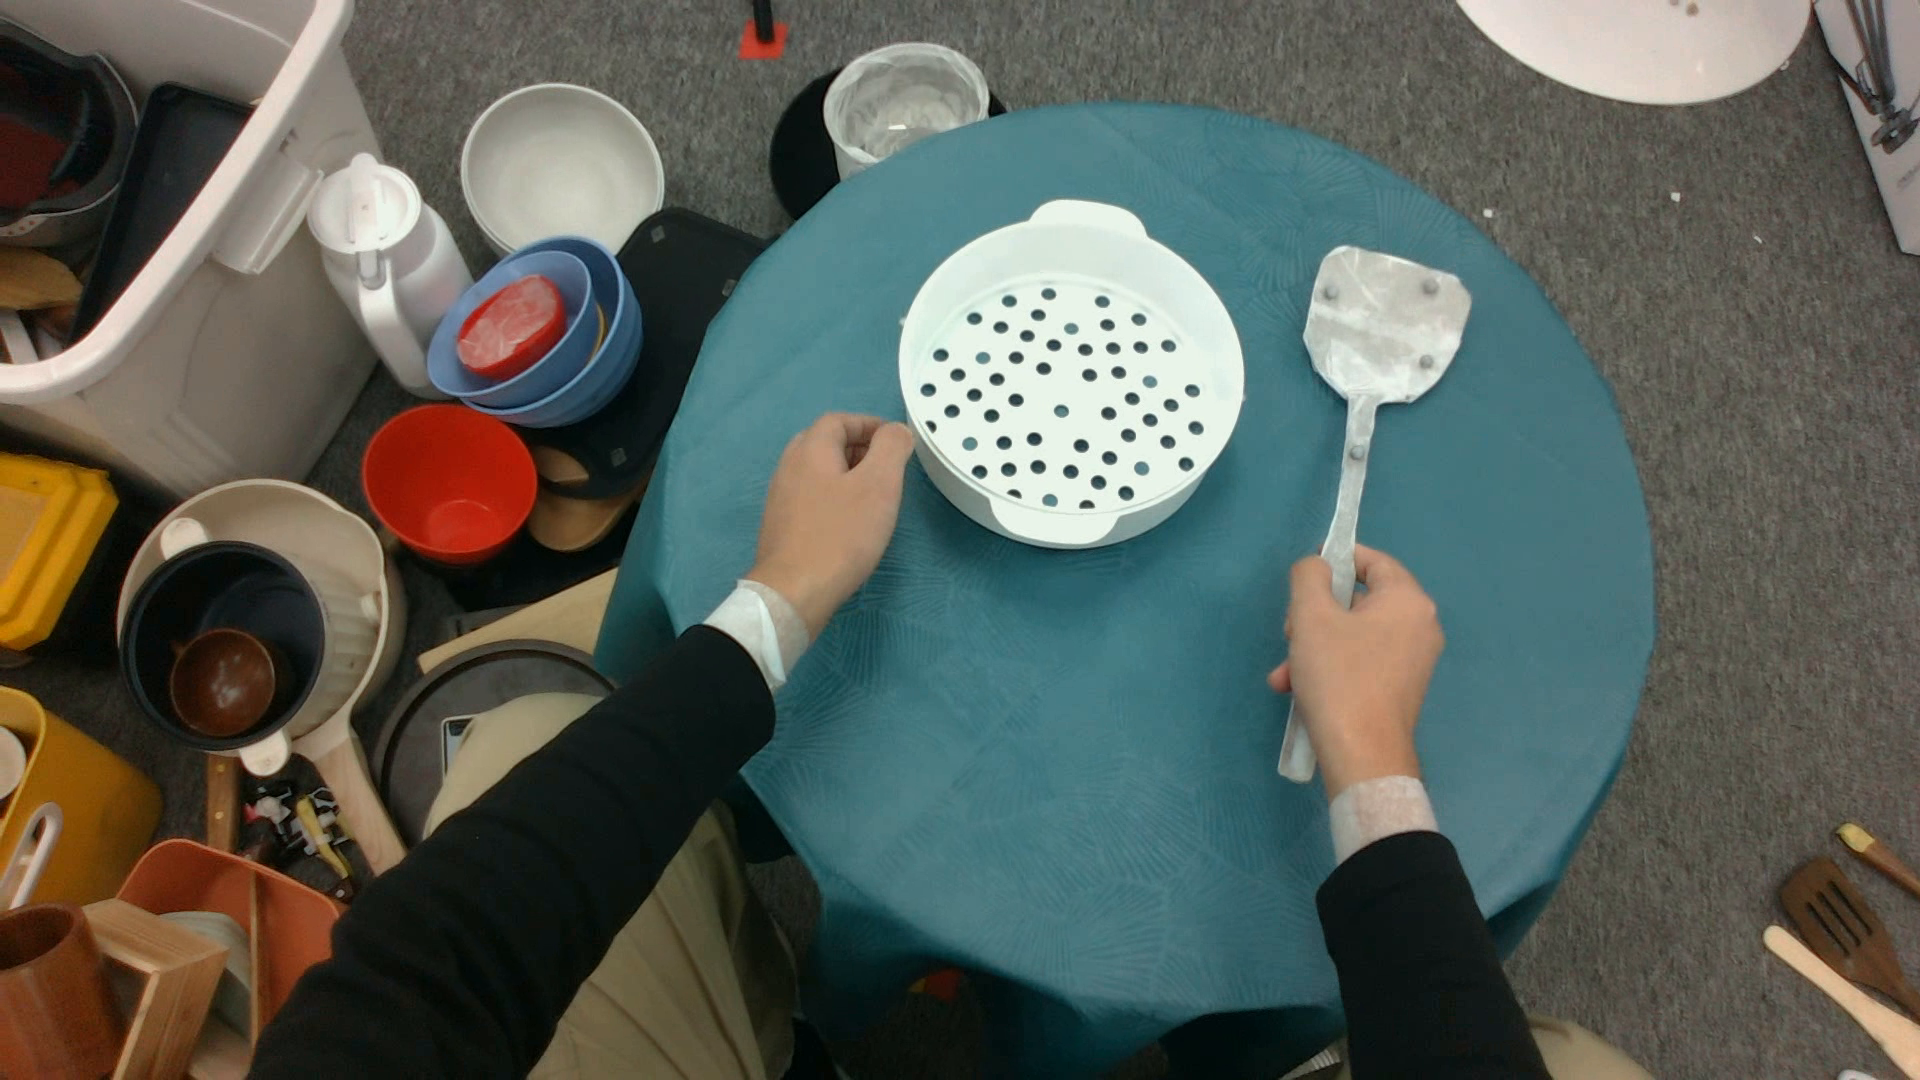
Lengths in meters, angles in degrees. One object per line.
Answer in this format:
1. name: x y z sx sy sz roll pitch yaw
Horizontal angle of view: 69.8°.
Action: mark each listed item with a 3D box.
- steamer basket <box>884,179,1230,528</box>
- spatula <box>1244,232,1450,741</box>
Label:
1. steamer basket: 0.056 -0.104 0.825 0.202 0.069 0.231 9 67 1
2. spatula: 0.216 -0.042 0.800 0.098 0.044 0.367 20 54 3
